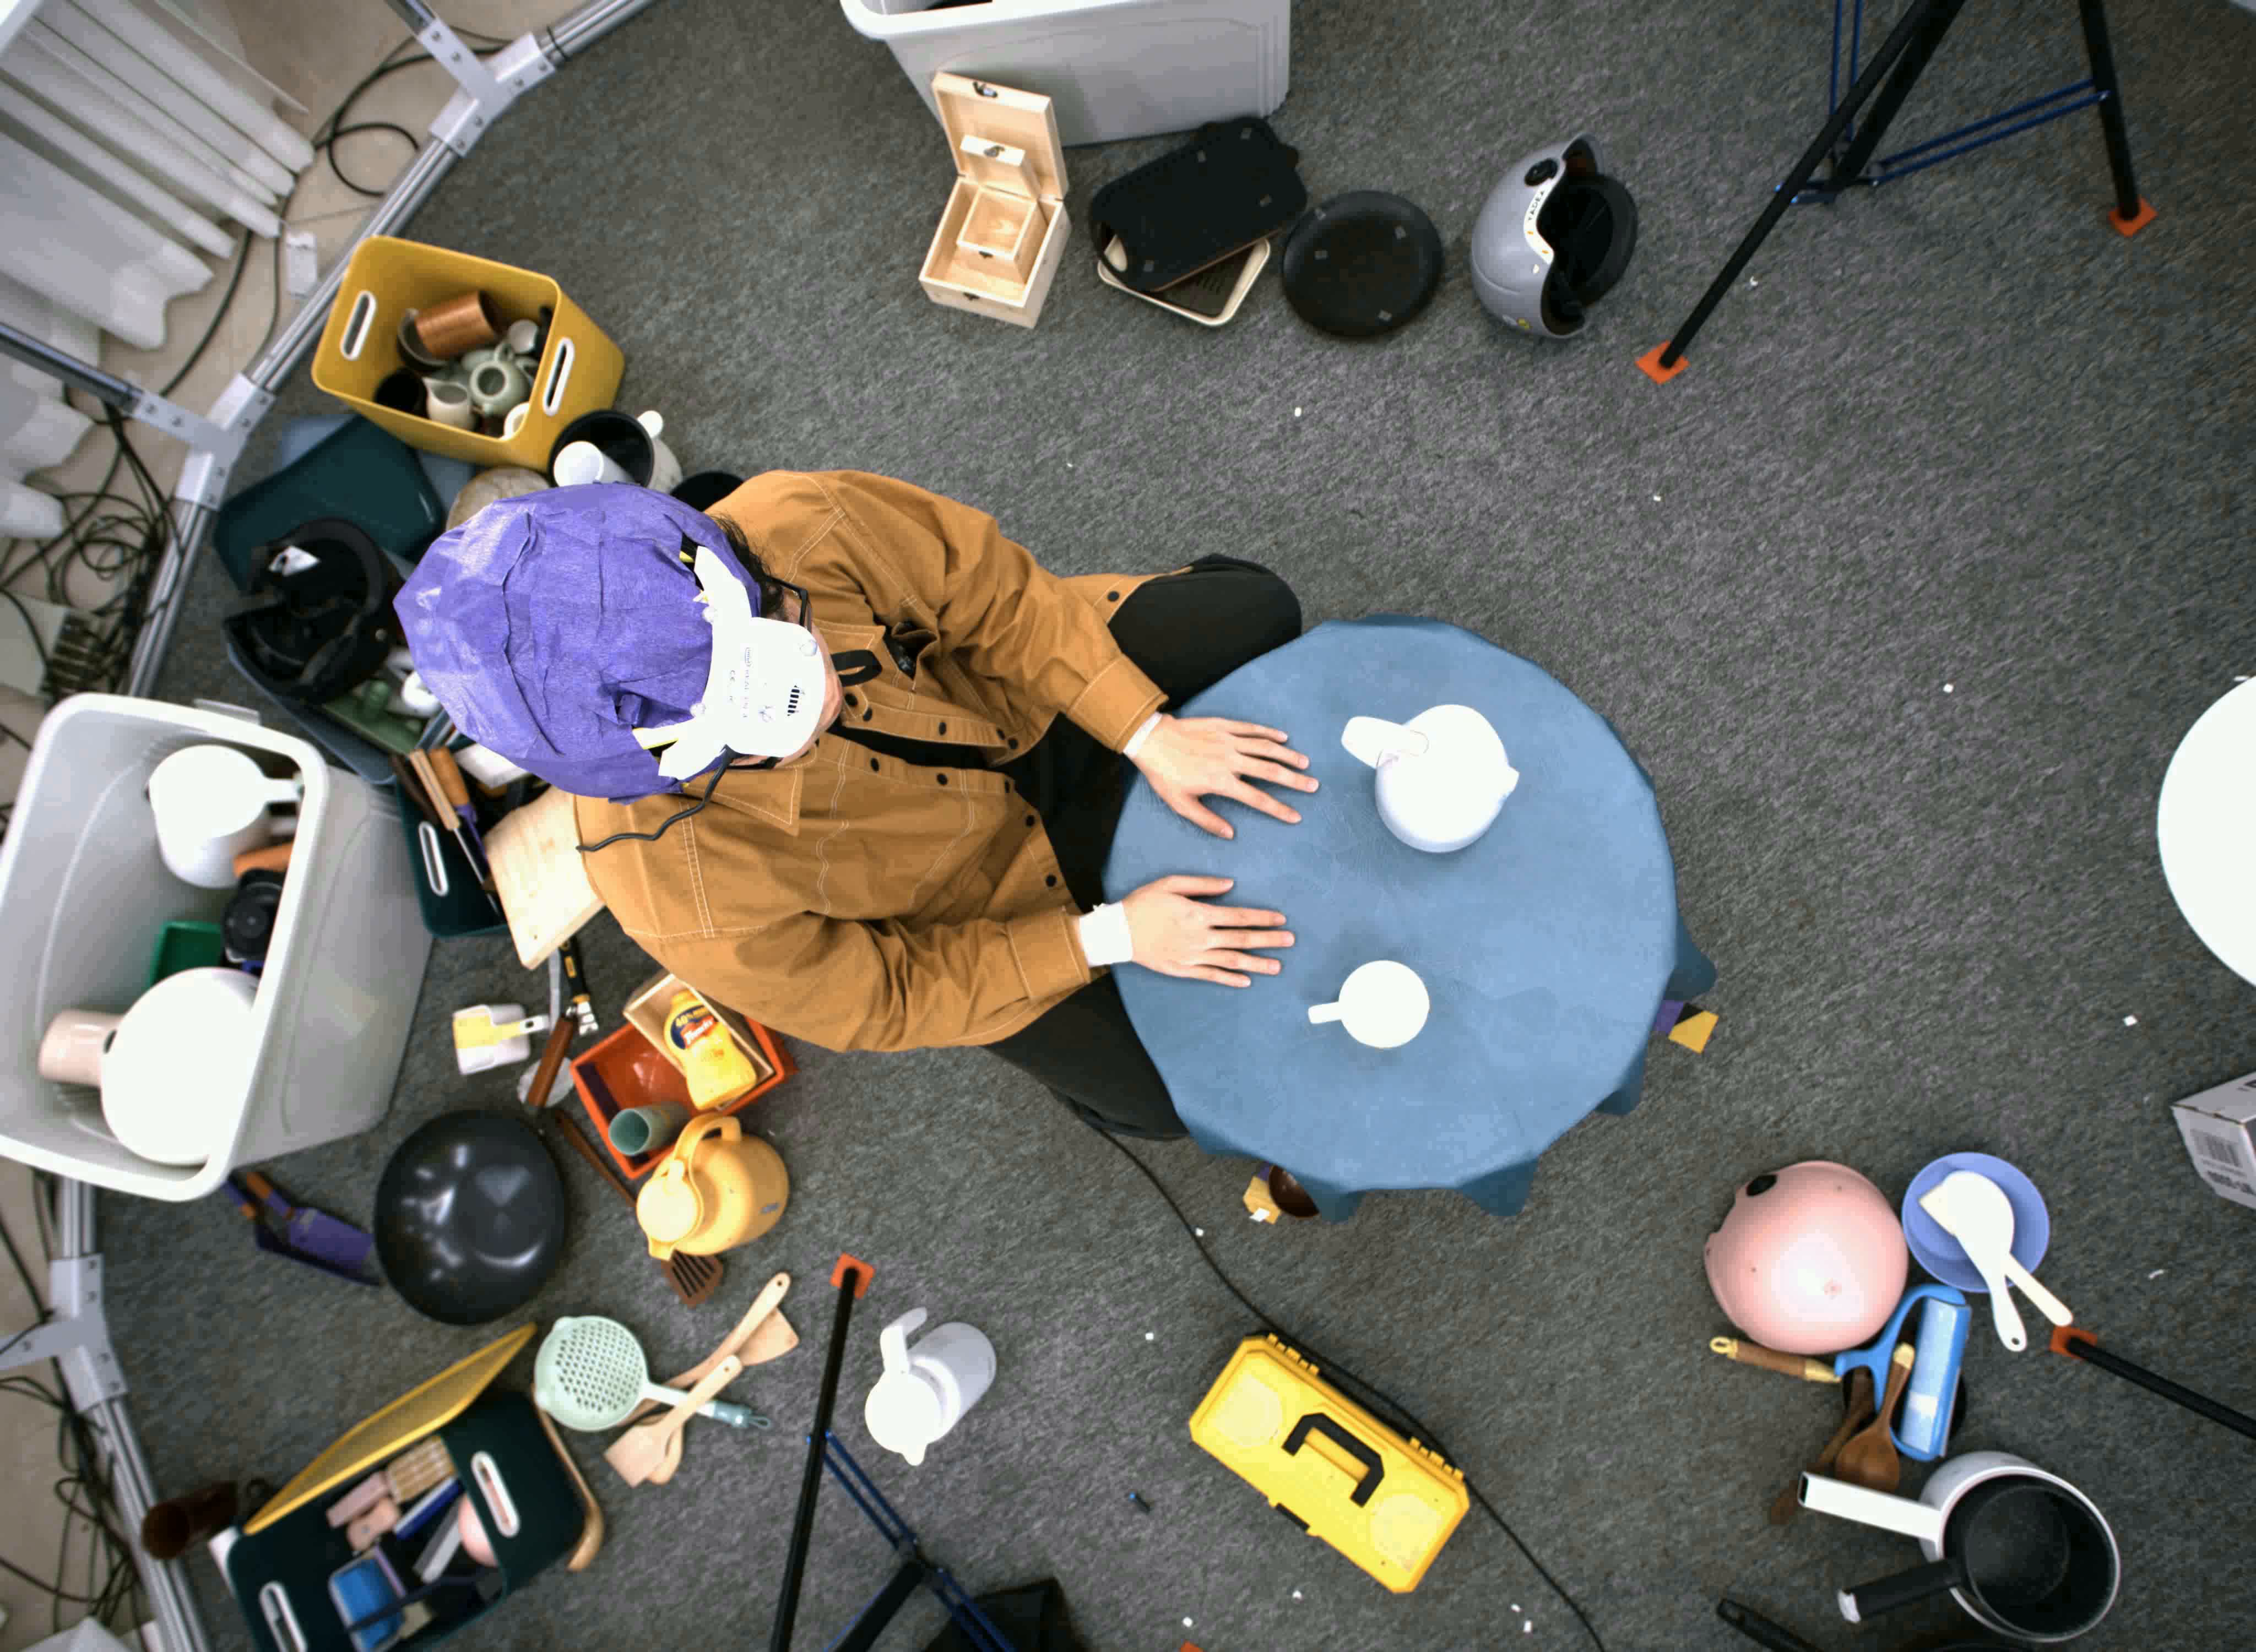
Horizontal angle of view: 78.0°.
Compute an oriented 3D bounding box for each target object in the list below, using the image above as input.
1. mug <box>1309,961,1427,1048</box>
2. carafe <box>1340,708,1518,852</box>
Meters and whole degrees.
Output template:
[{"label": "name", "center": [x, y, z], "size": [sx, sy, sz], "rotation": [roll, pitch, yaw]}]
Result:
[{"label": "mug", "center": [0.243, 0.182, 1.409], "size": [0.119, 0.102, 0.084], "rotation": [-12, 83, 10]}, {"label": "carafe", "center": [0.288, -0.056, 1.338], "size": [0.167, 0.248, 0.132], "rotation": [21, 90, 12]}]
